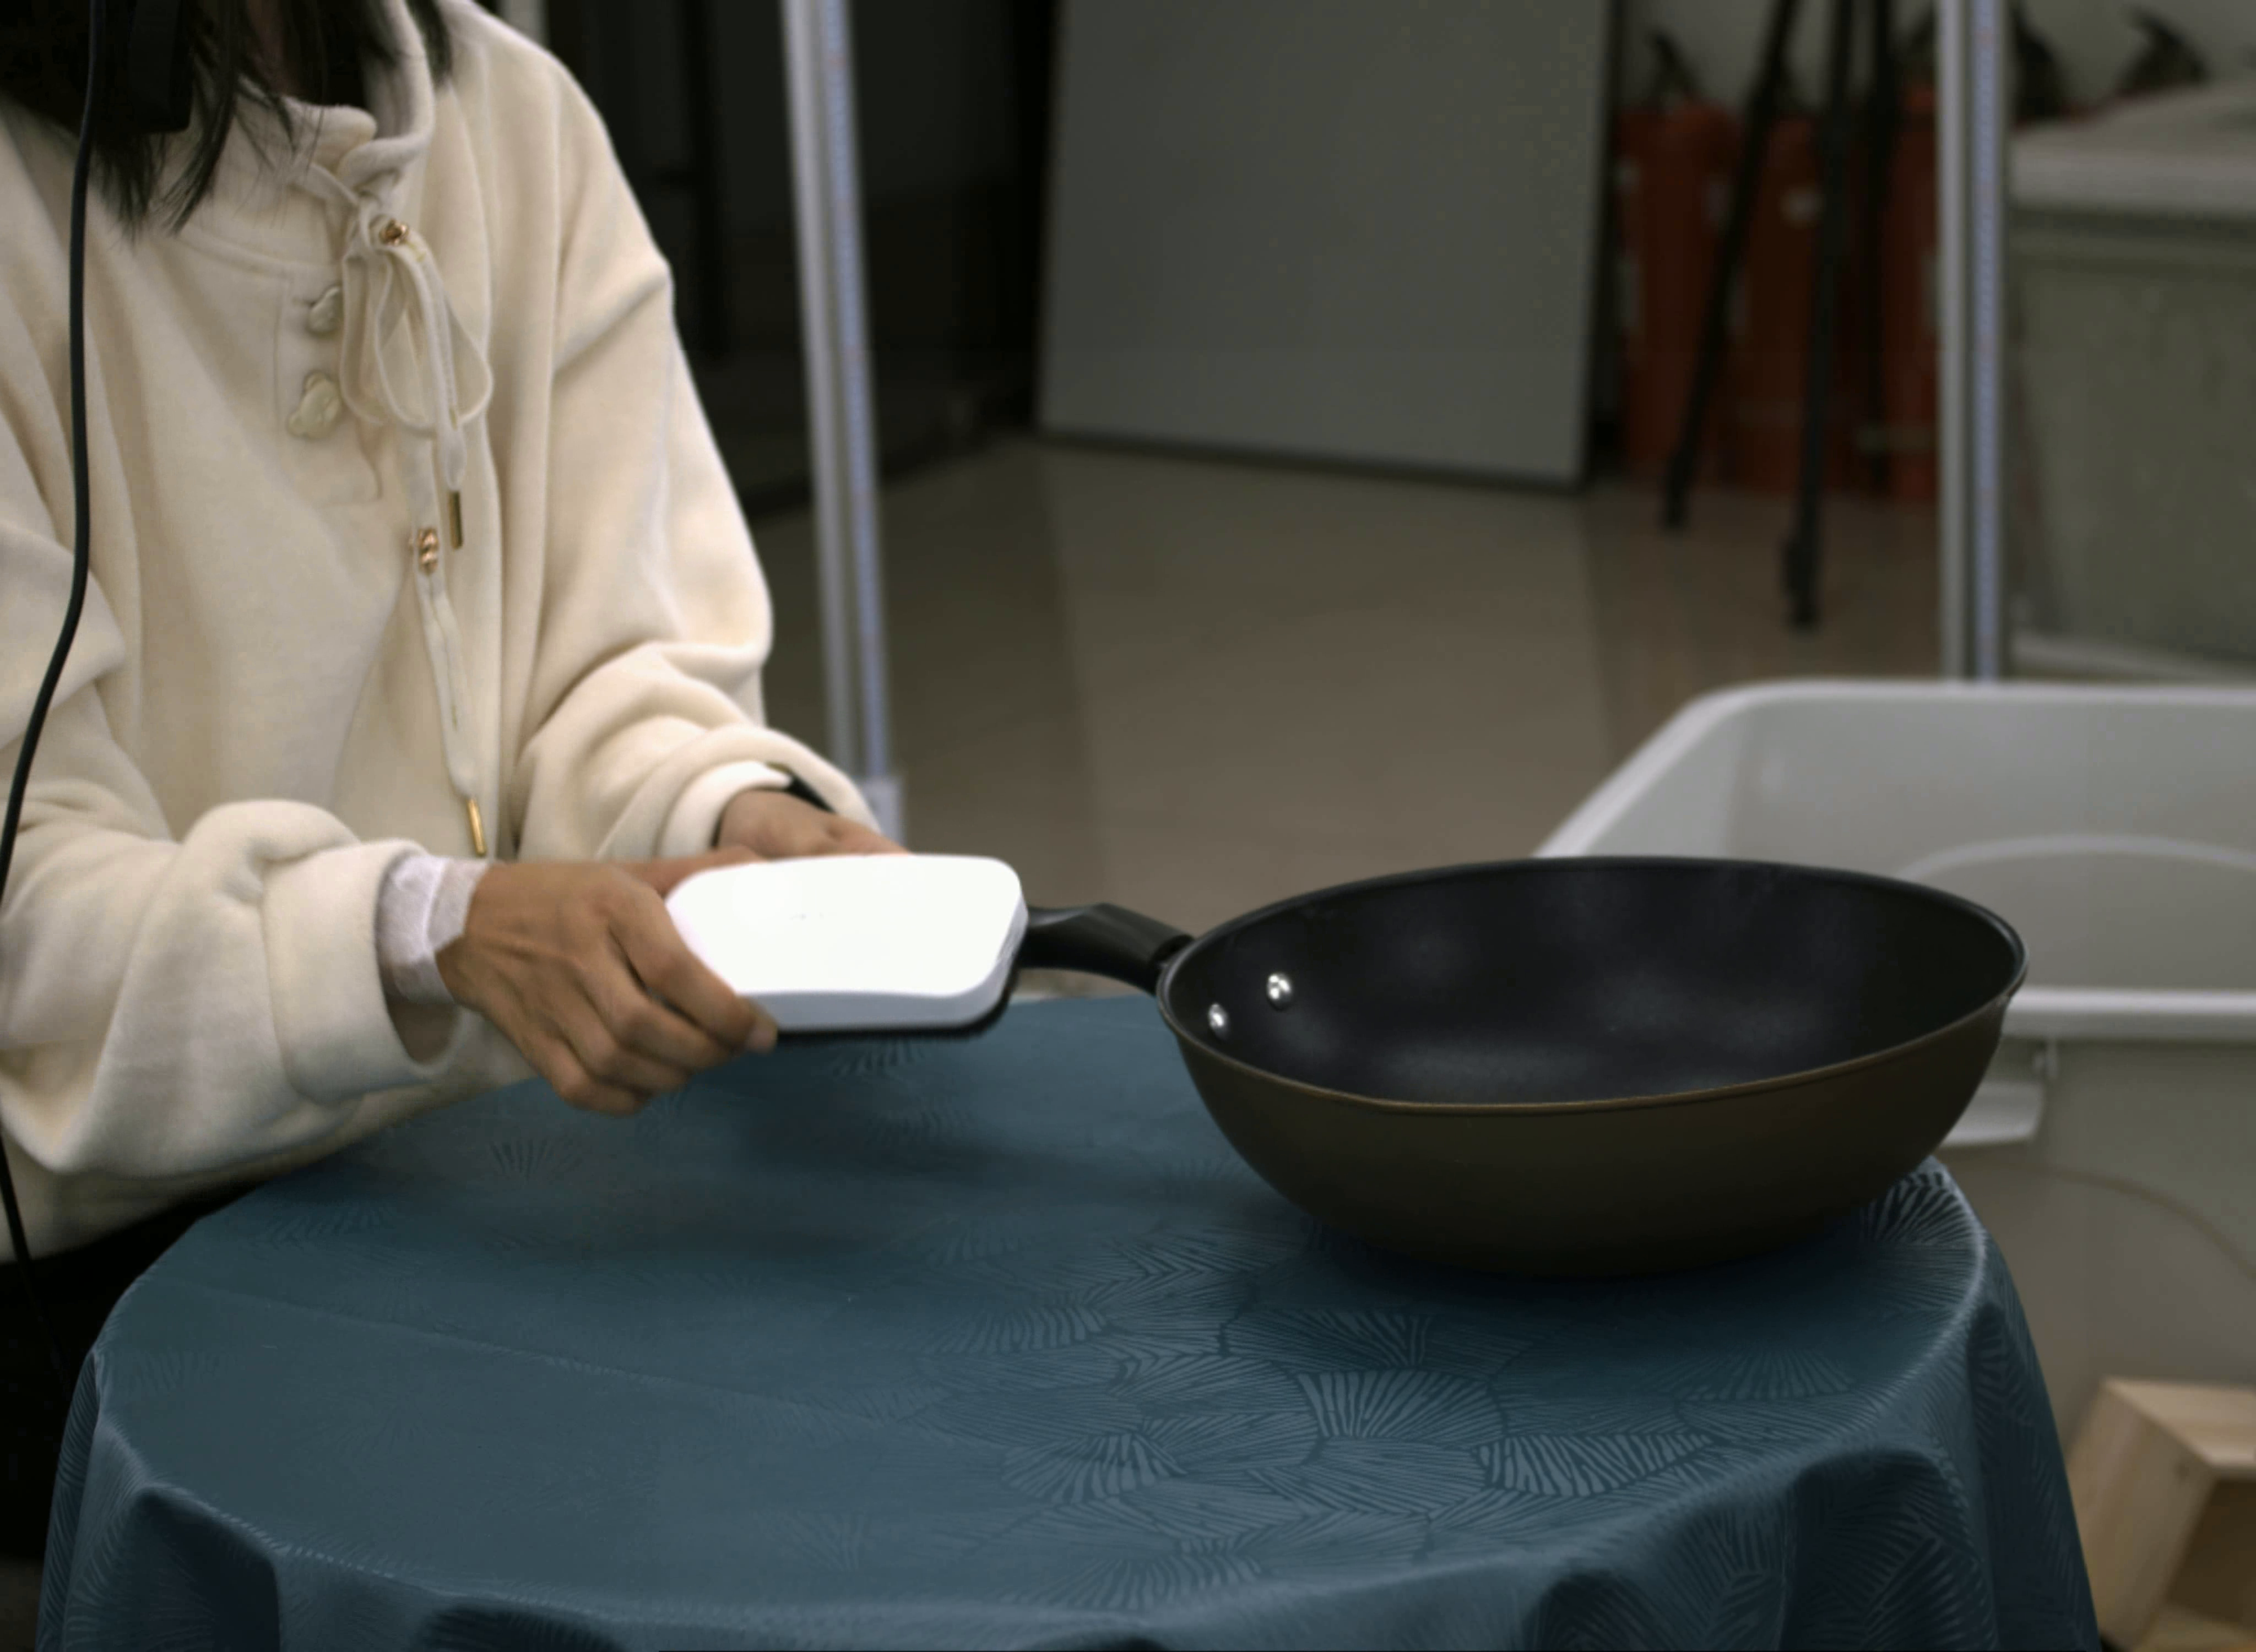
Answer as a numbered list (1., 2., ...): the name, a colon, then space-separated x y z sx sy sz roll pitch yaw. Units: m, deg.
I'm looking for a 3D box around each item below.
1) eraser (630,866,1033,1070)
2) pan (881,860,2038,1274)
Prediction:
1. eraser: -0.095 0.046 1.740 0.131 0.034 0.063 -3 41 26
2. pan: 0.074 0.075 1.761 0.466 0.088 0.283 4 15 33
